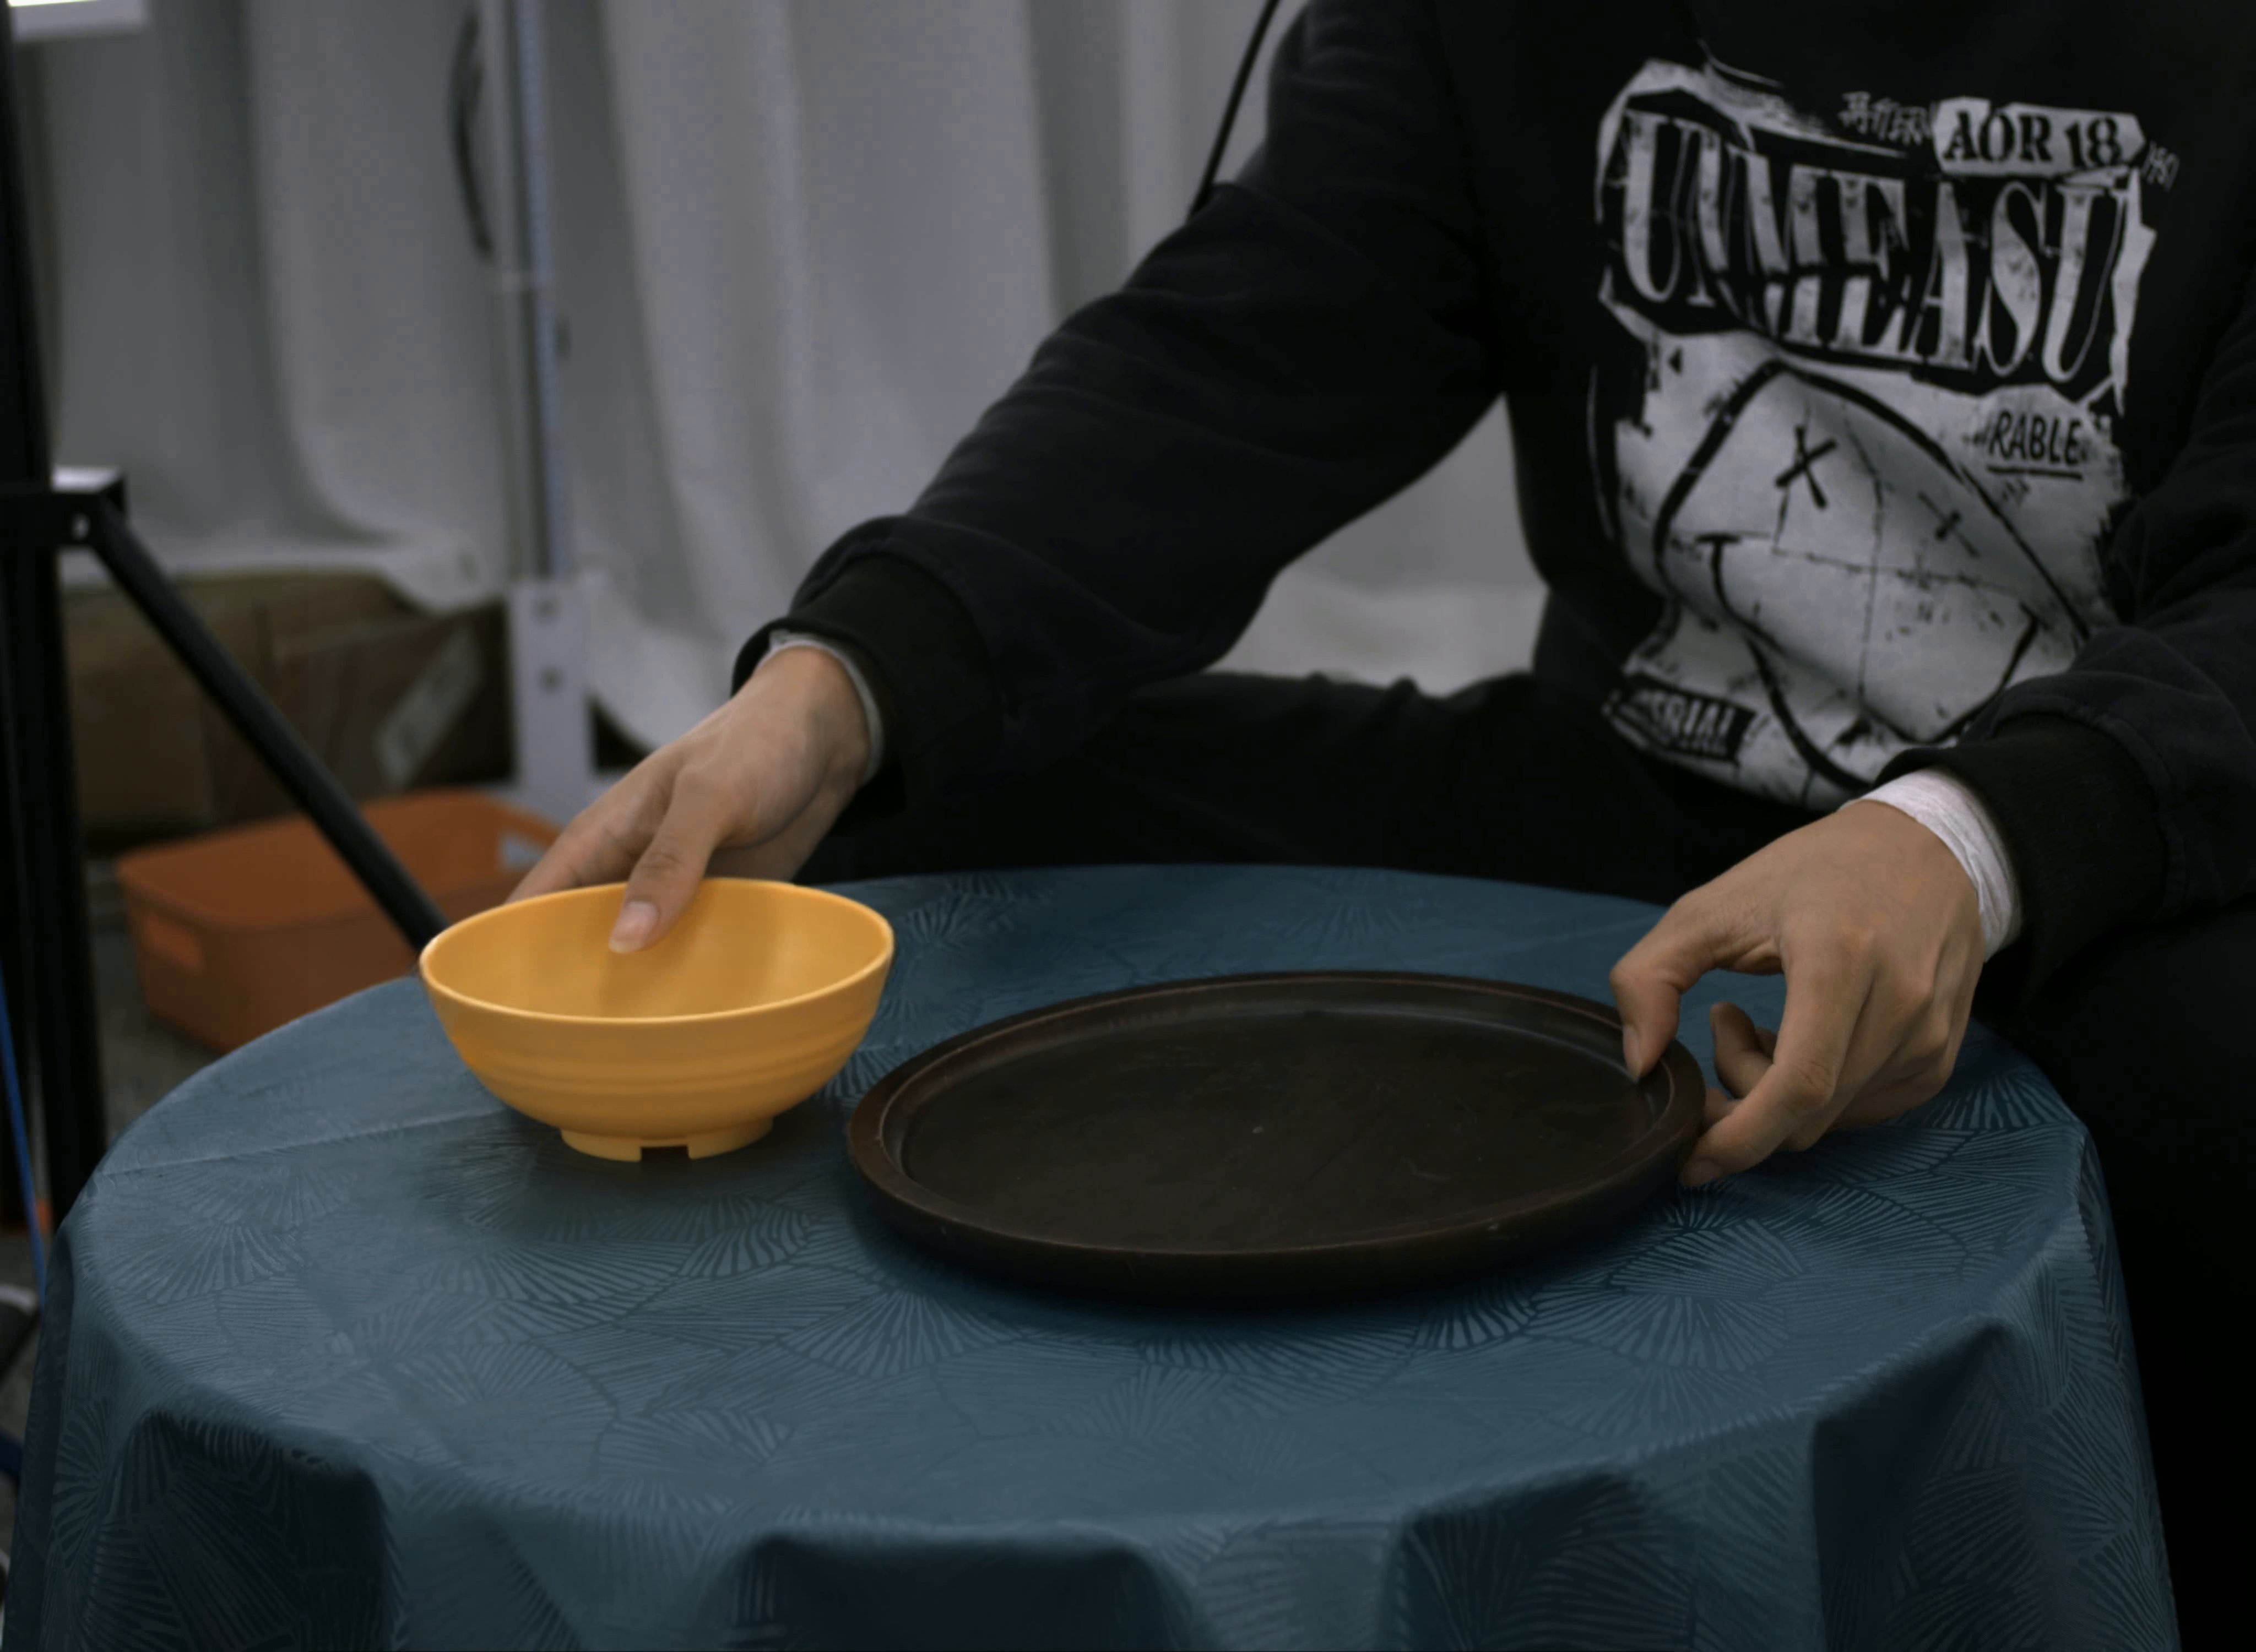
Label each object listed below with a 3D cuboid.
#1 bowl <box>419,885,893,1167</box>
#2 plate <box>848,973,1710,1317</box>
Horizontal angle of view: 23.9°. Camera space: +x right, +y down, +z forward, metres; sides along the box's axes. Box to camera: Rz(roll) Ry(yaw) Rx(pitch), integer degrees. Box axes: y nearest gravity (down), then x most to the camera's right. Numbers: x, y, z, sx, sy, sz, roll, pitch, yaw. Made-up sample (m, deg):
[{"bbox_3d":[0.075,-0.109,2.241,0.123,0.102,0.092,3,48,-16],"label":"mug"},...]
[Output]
[{"bbox_3d":[-0.143,0.066,1.629,0.144,0.060,0.146,0,15,-1],"label":"bowl"},{"bbox_3d":[0.045,0.092,1.560,0.253,0.029,0.256,-5,15,0],"label":"plate"}]
